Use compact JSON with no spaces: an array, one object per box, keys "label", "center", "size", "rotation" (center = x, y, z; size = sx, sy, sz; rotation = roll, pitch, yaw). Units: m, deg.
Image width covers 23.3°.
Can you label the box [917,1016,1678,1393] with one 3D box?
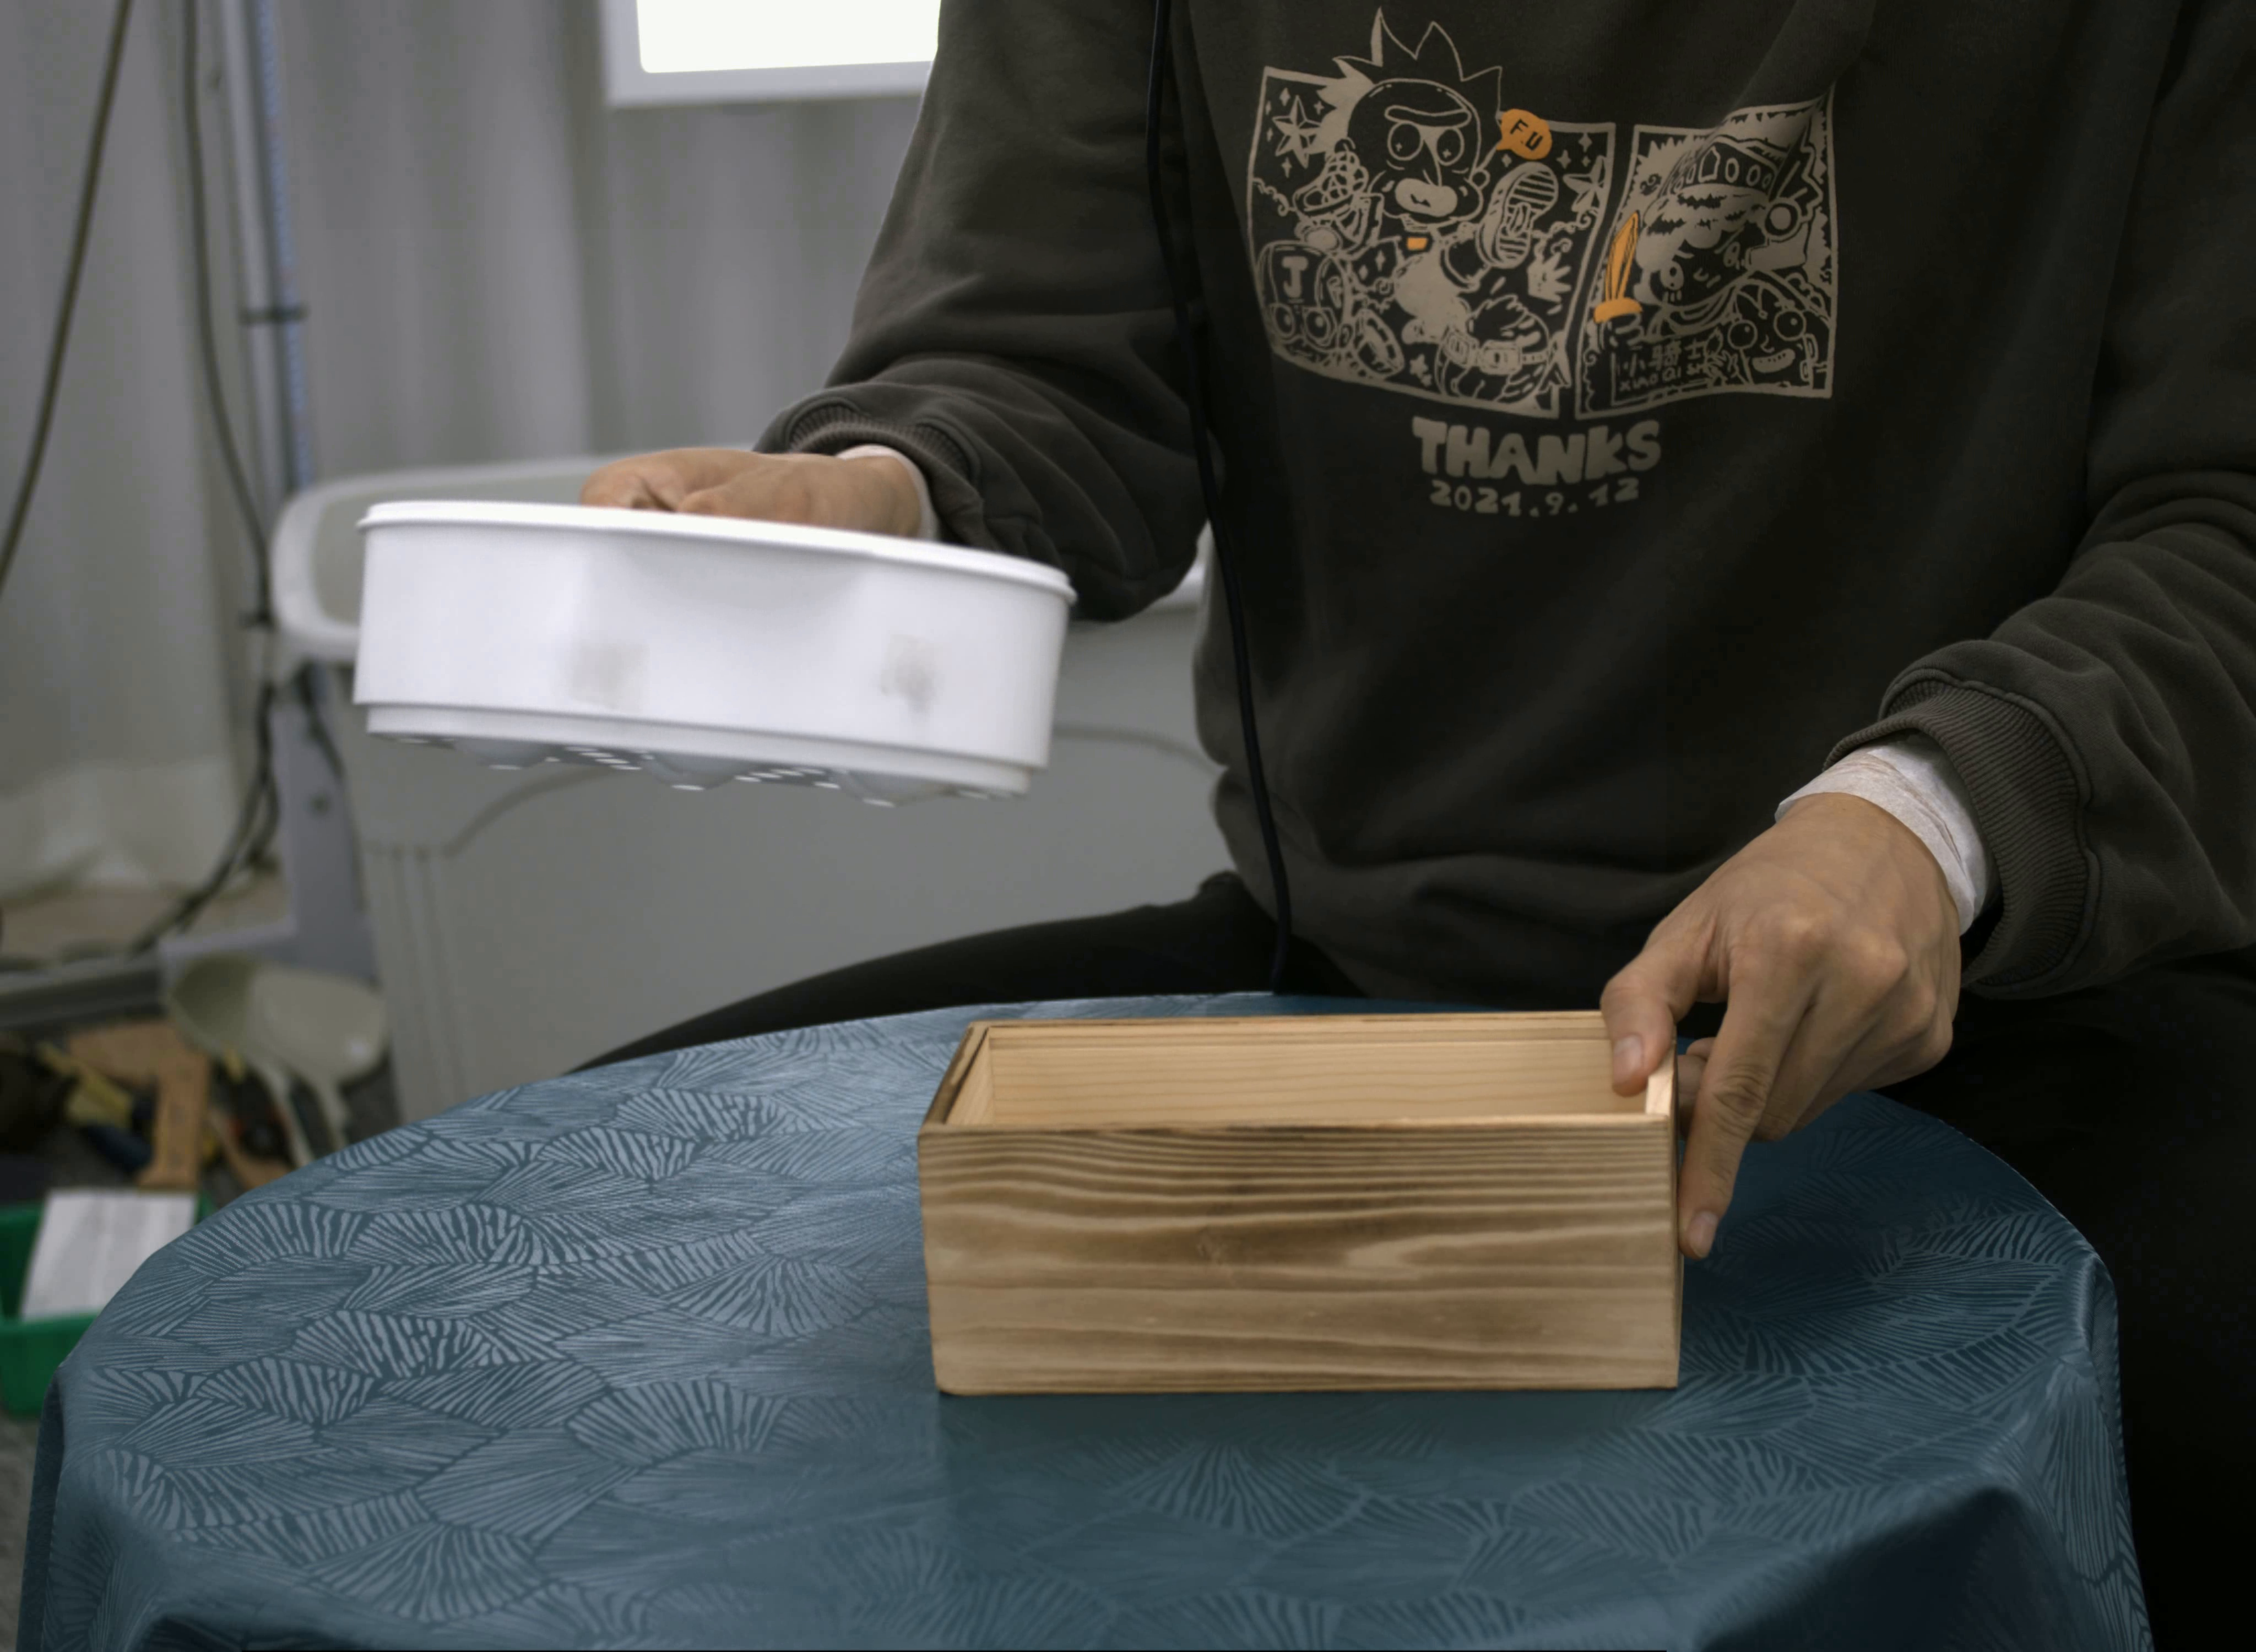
[{"label":"box","center":[0.052,0.109,1.582],"size":[0.211,0.080,0.108],"rotation":[-1,14,7]}]

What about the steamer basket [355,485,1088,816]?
[{"label":"steamer basket","center":[-0.114,-0.045,1.523],"size":[0.201,0.069,0.230],"rotation":[7,-3,-7]}]
